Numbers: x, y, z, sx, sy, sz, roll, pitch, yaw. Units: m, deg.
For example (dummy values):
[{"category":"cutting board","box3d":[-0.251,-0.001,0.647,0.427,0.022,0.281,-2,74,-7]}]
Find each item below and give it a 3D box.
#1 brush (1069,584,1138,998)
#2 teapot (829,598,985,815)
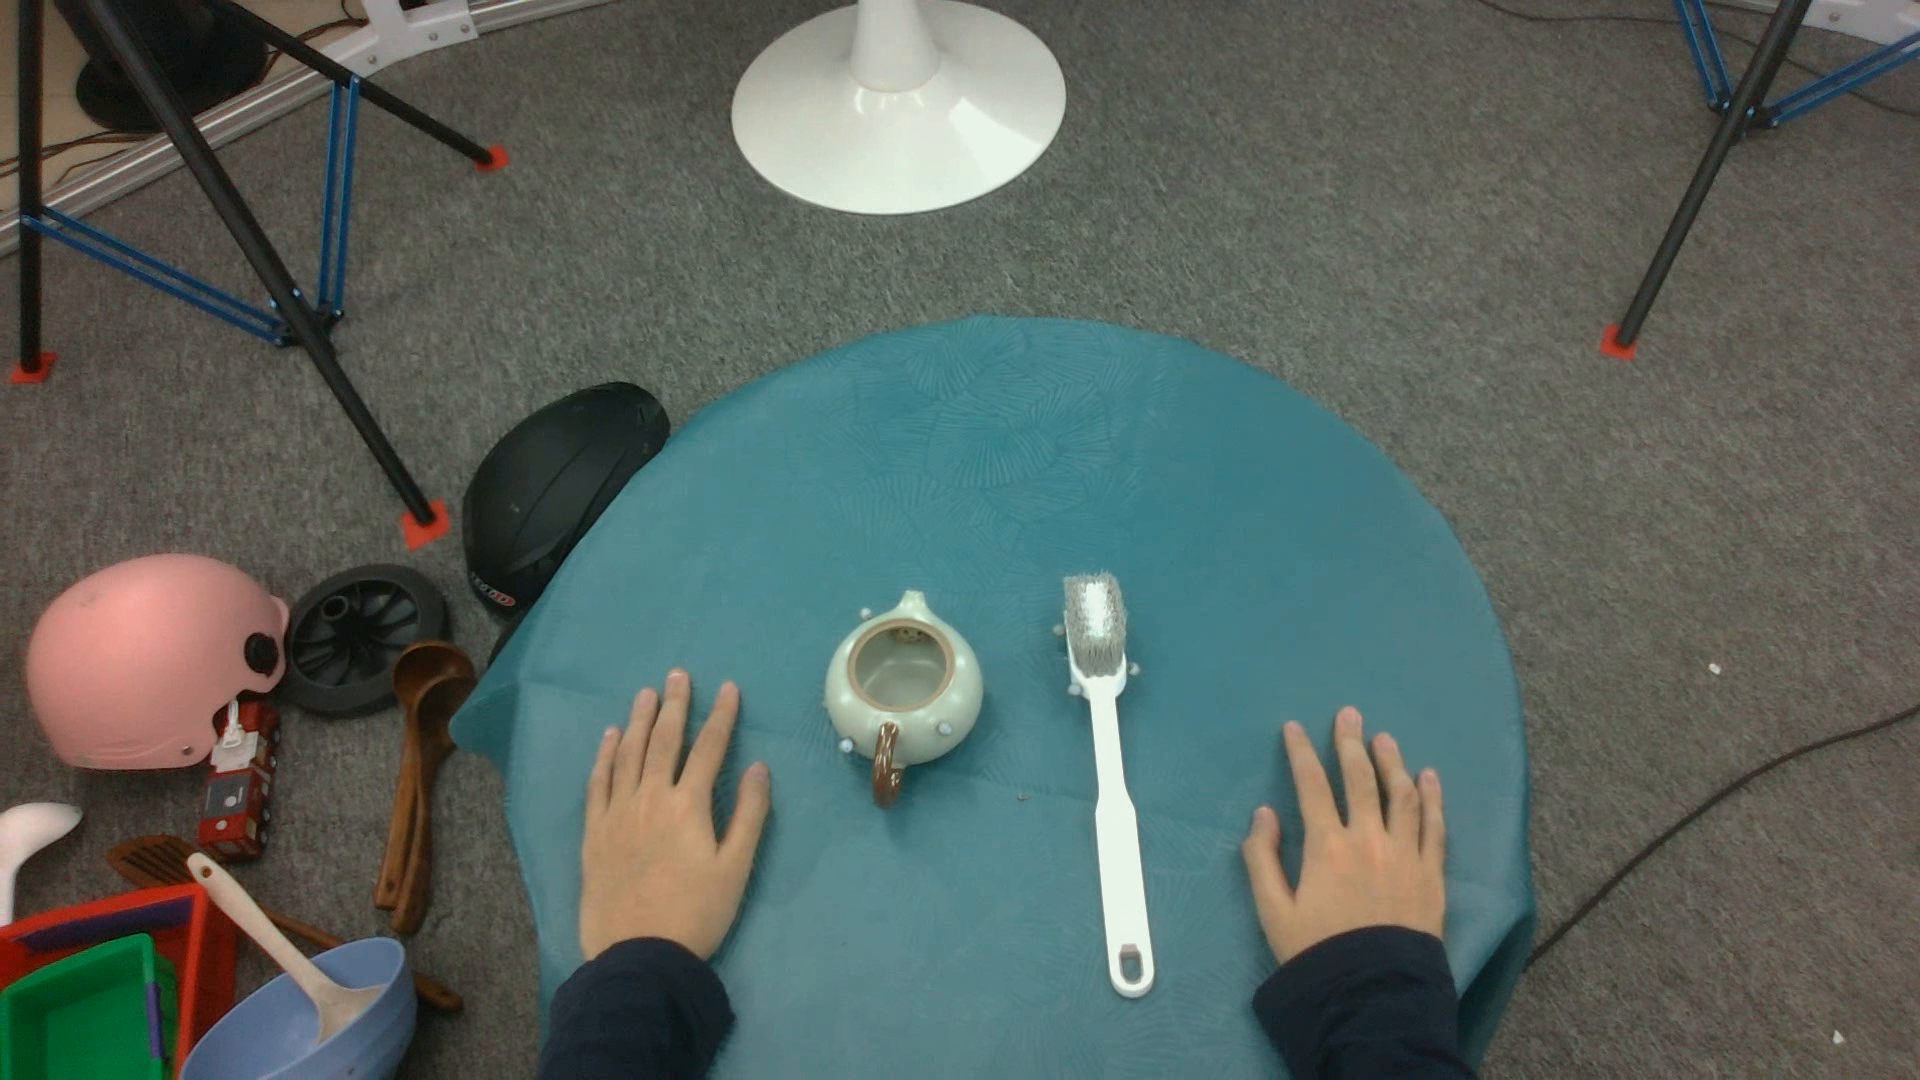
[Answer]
[{"category":"brush","box3d":[0.083,0.130,0.778,0.034,0.050,0.245,1,54,0]},{"category":"teapot","box3d":[-0.032,0.099,0.804,0.092,0.059,0.128,5,53,4]}]
